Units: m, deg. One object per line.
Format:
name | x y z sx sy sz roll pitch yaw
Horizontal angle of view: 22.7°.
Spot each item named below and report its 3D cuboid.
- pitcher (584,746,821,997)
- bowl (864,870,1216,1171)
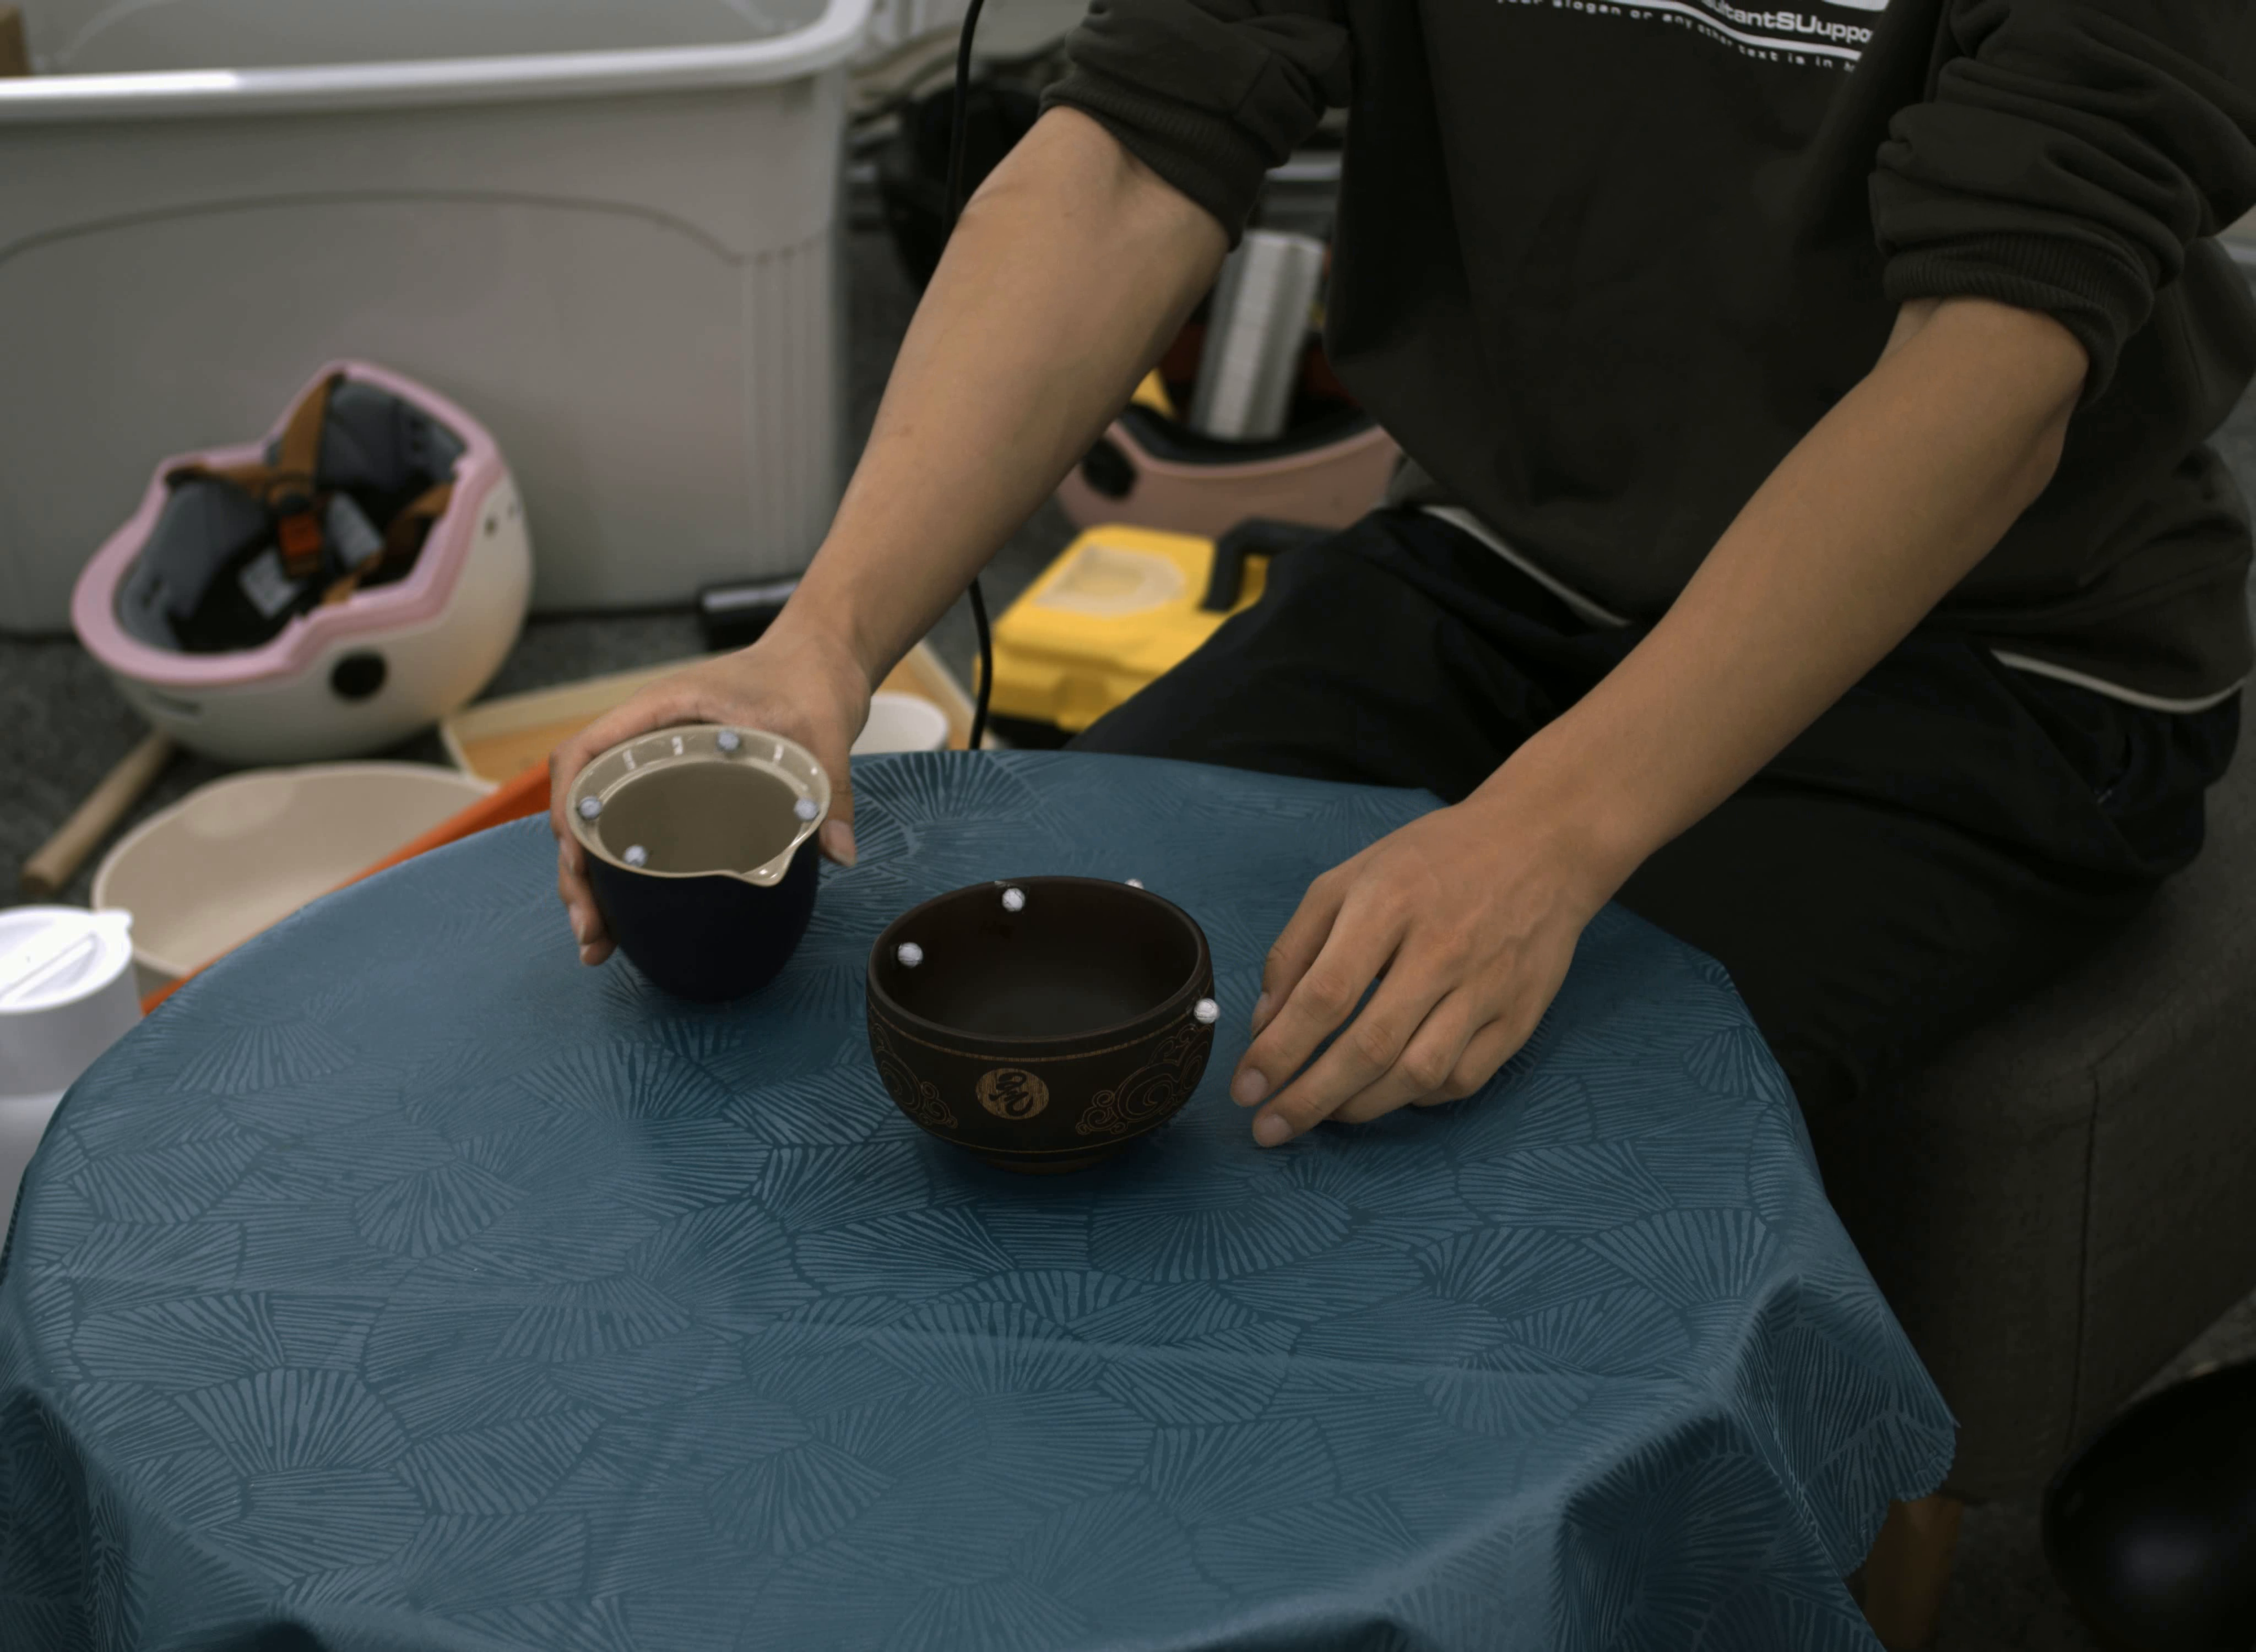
pitcher | -0.147 0.020 1.980 0.084 0.070 0.097 -14 35 -21
bowl | -0.028 0.072 1.886 0.117 0.069 0.120 -3 28 2
